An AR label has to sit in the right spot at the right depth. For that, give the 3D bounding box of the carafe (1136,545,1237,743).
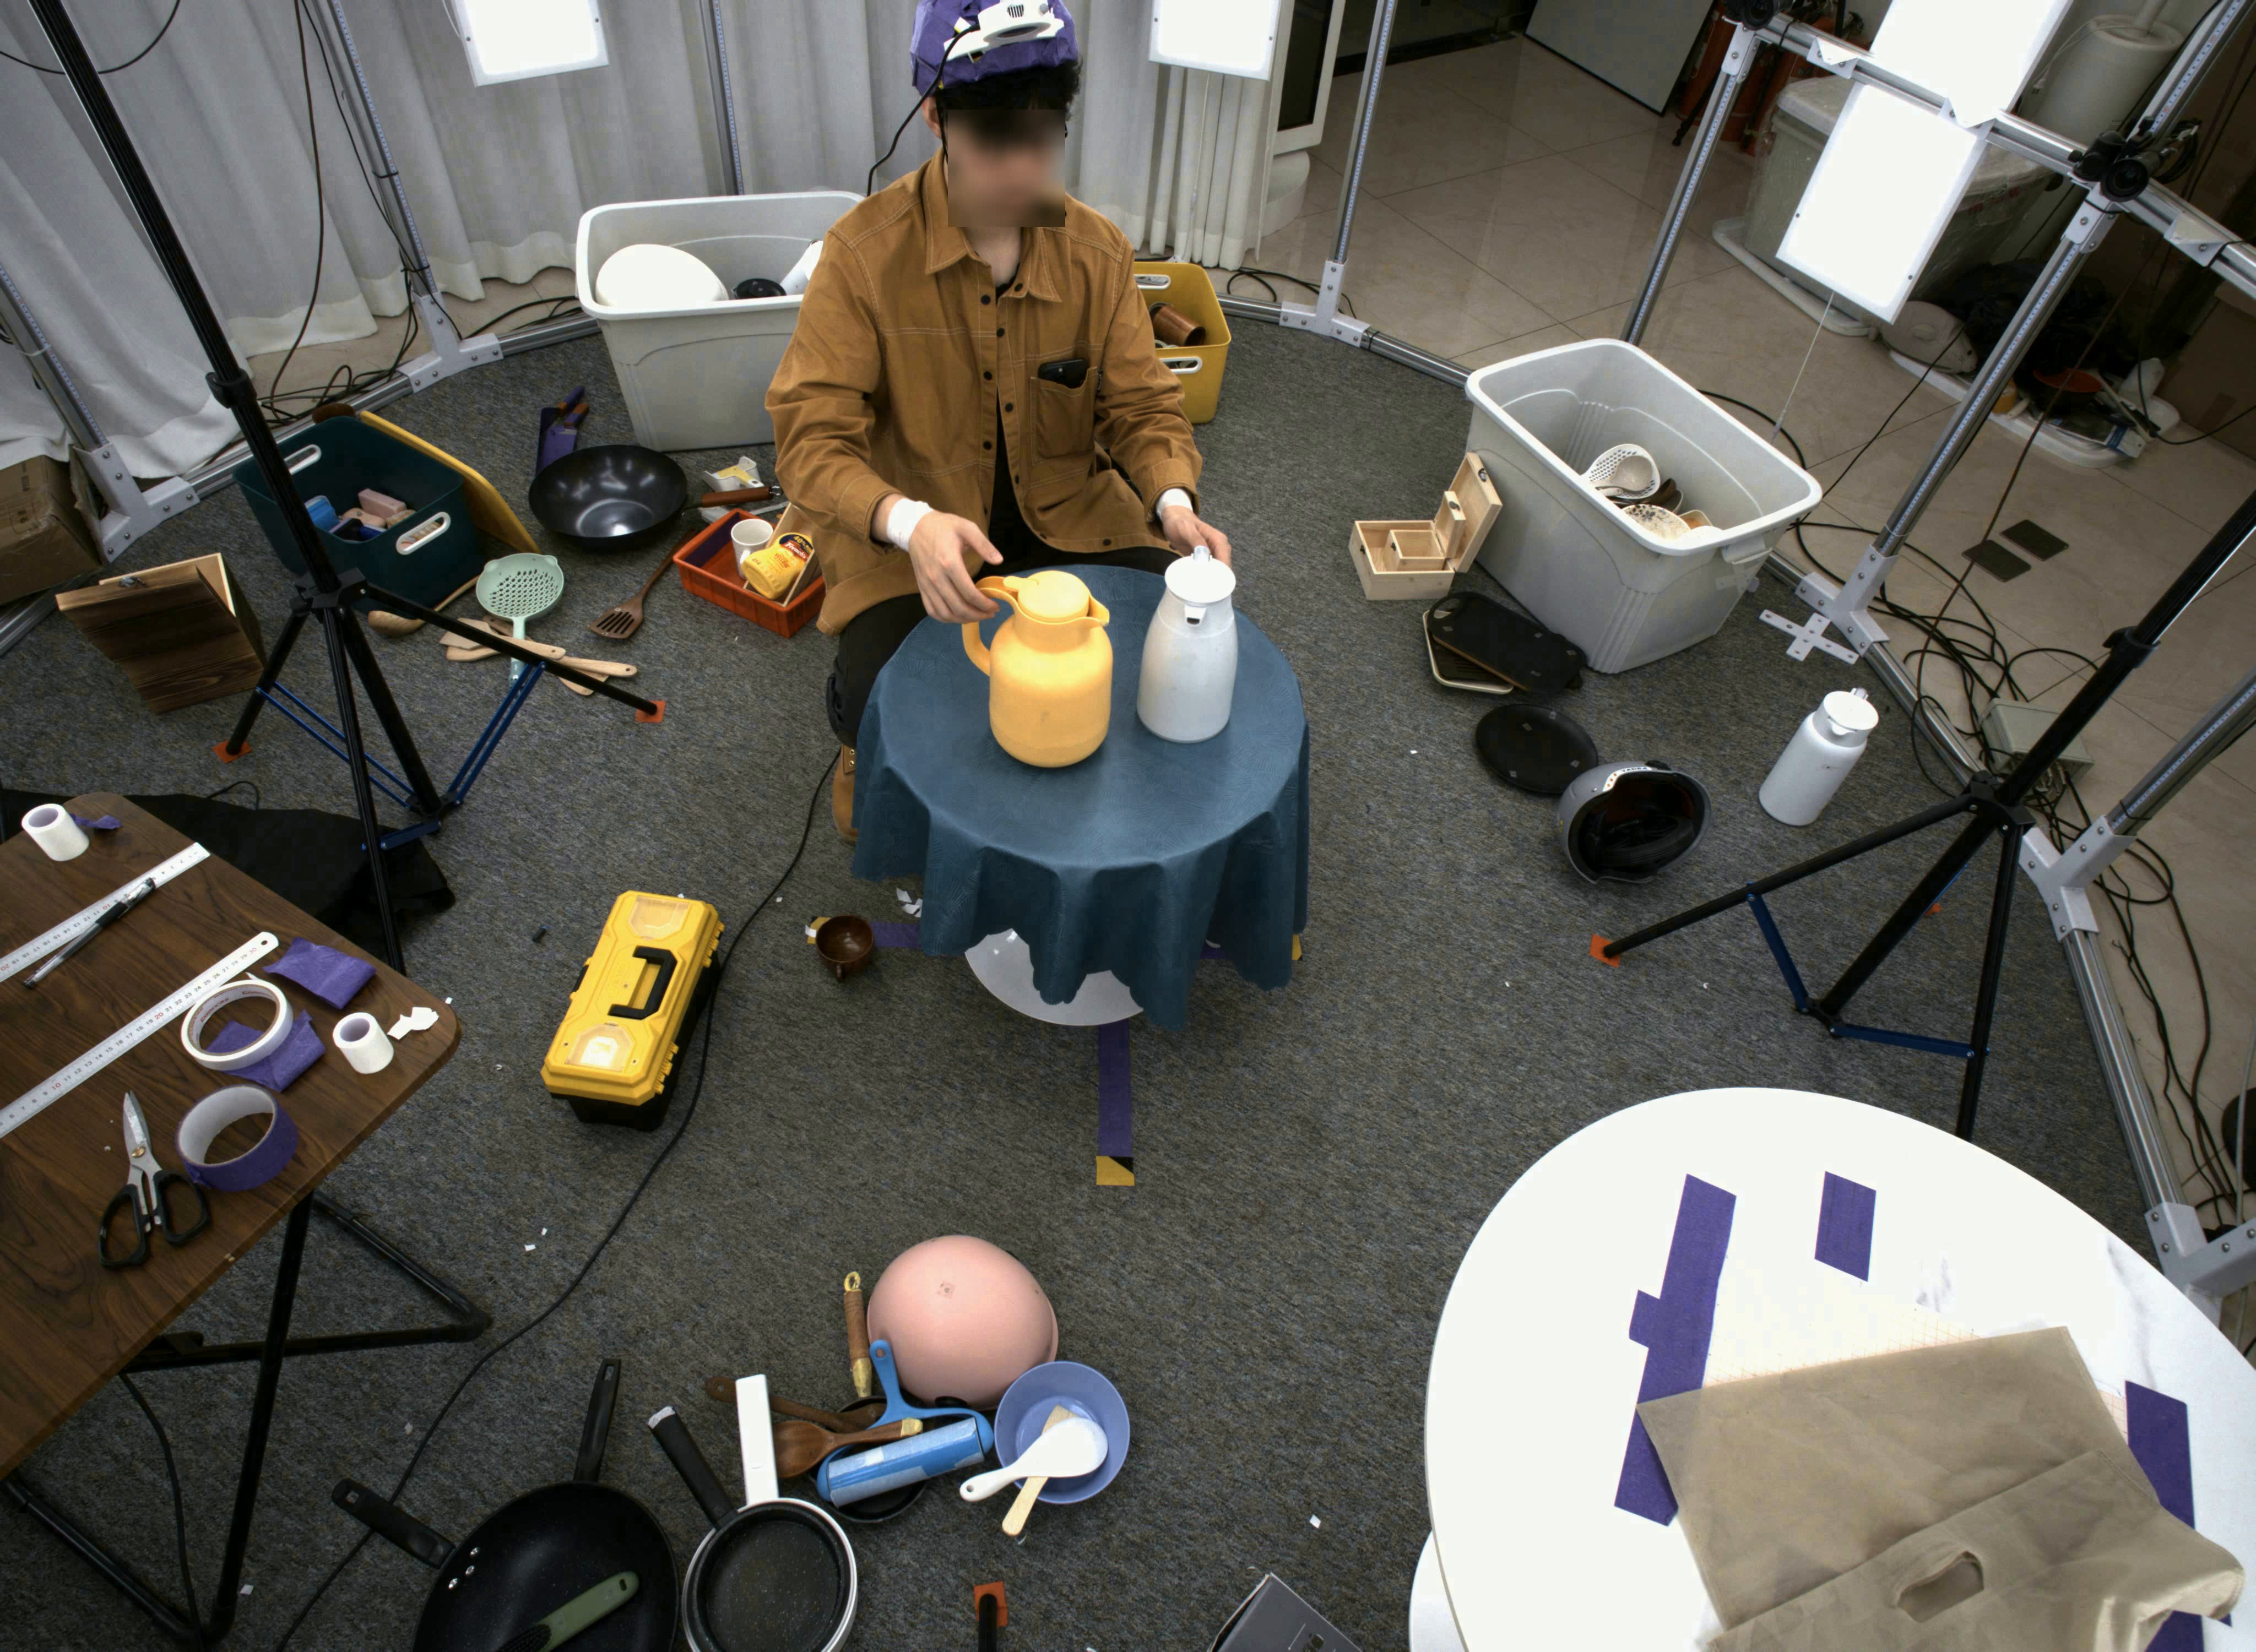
[{"bbox_3d":[0.086,-0.258,1.738,0.132,0.242,0.172,8,49,3],"label":"carafe"}]

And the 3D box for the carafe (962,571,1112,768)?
[{"bbox_3d":[-0.119,-0.217,1.682,0.203,0.254,0.166,21,49,12],"label":"carafe"}]
